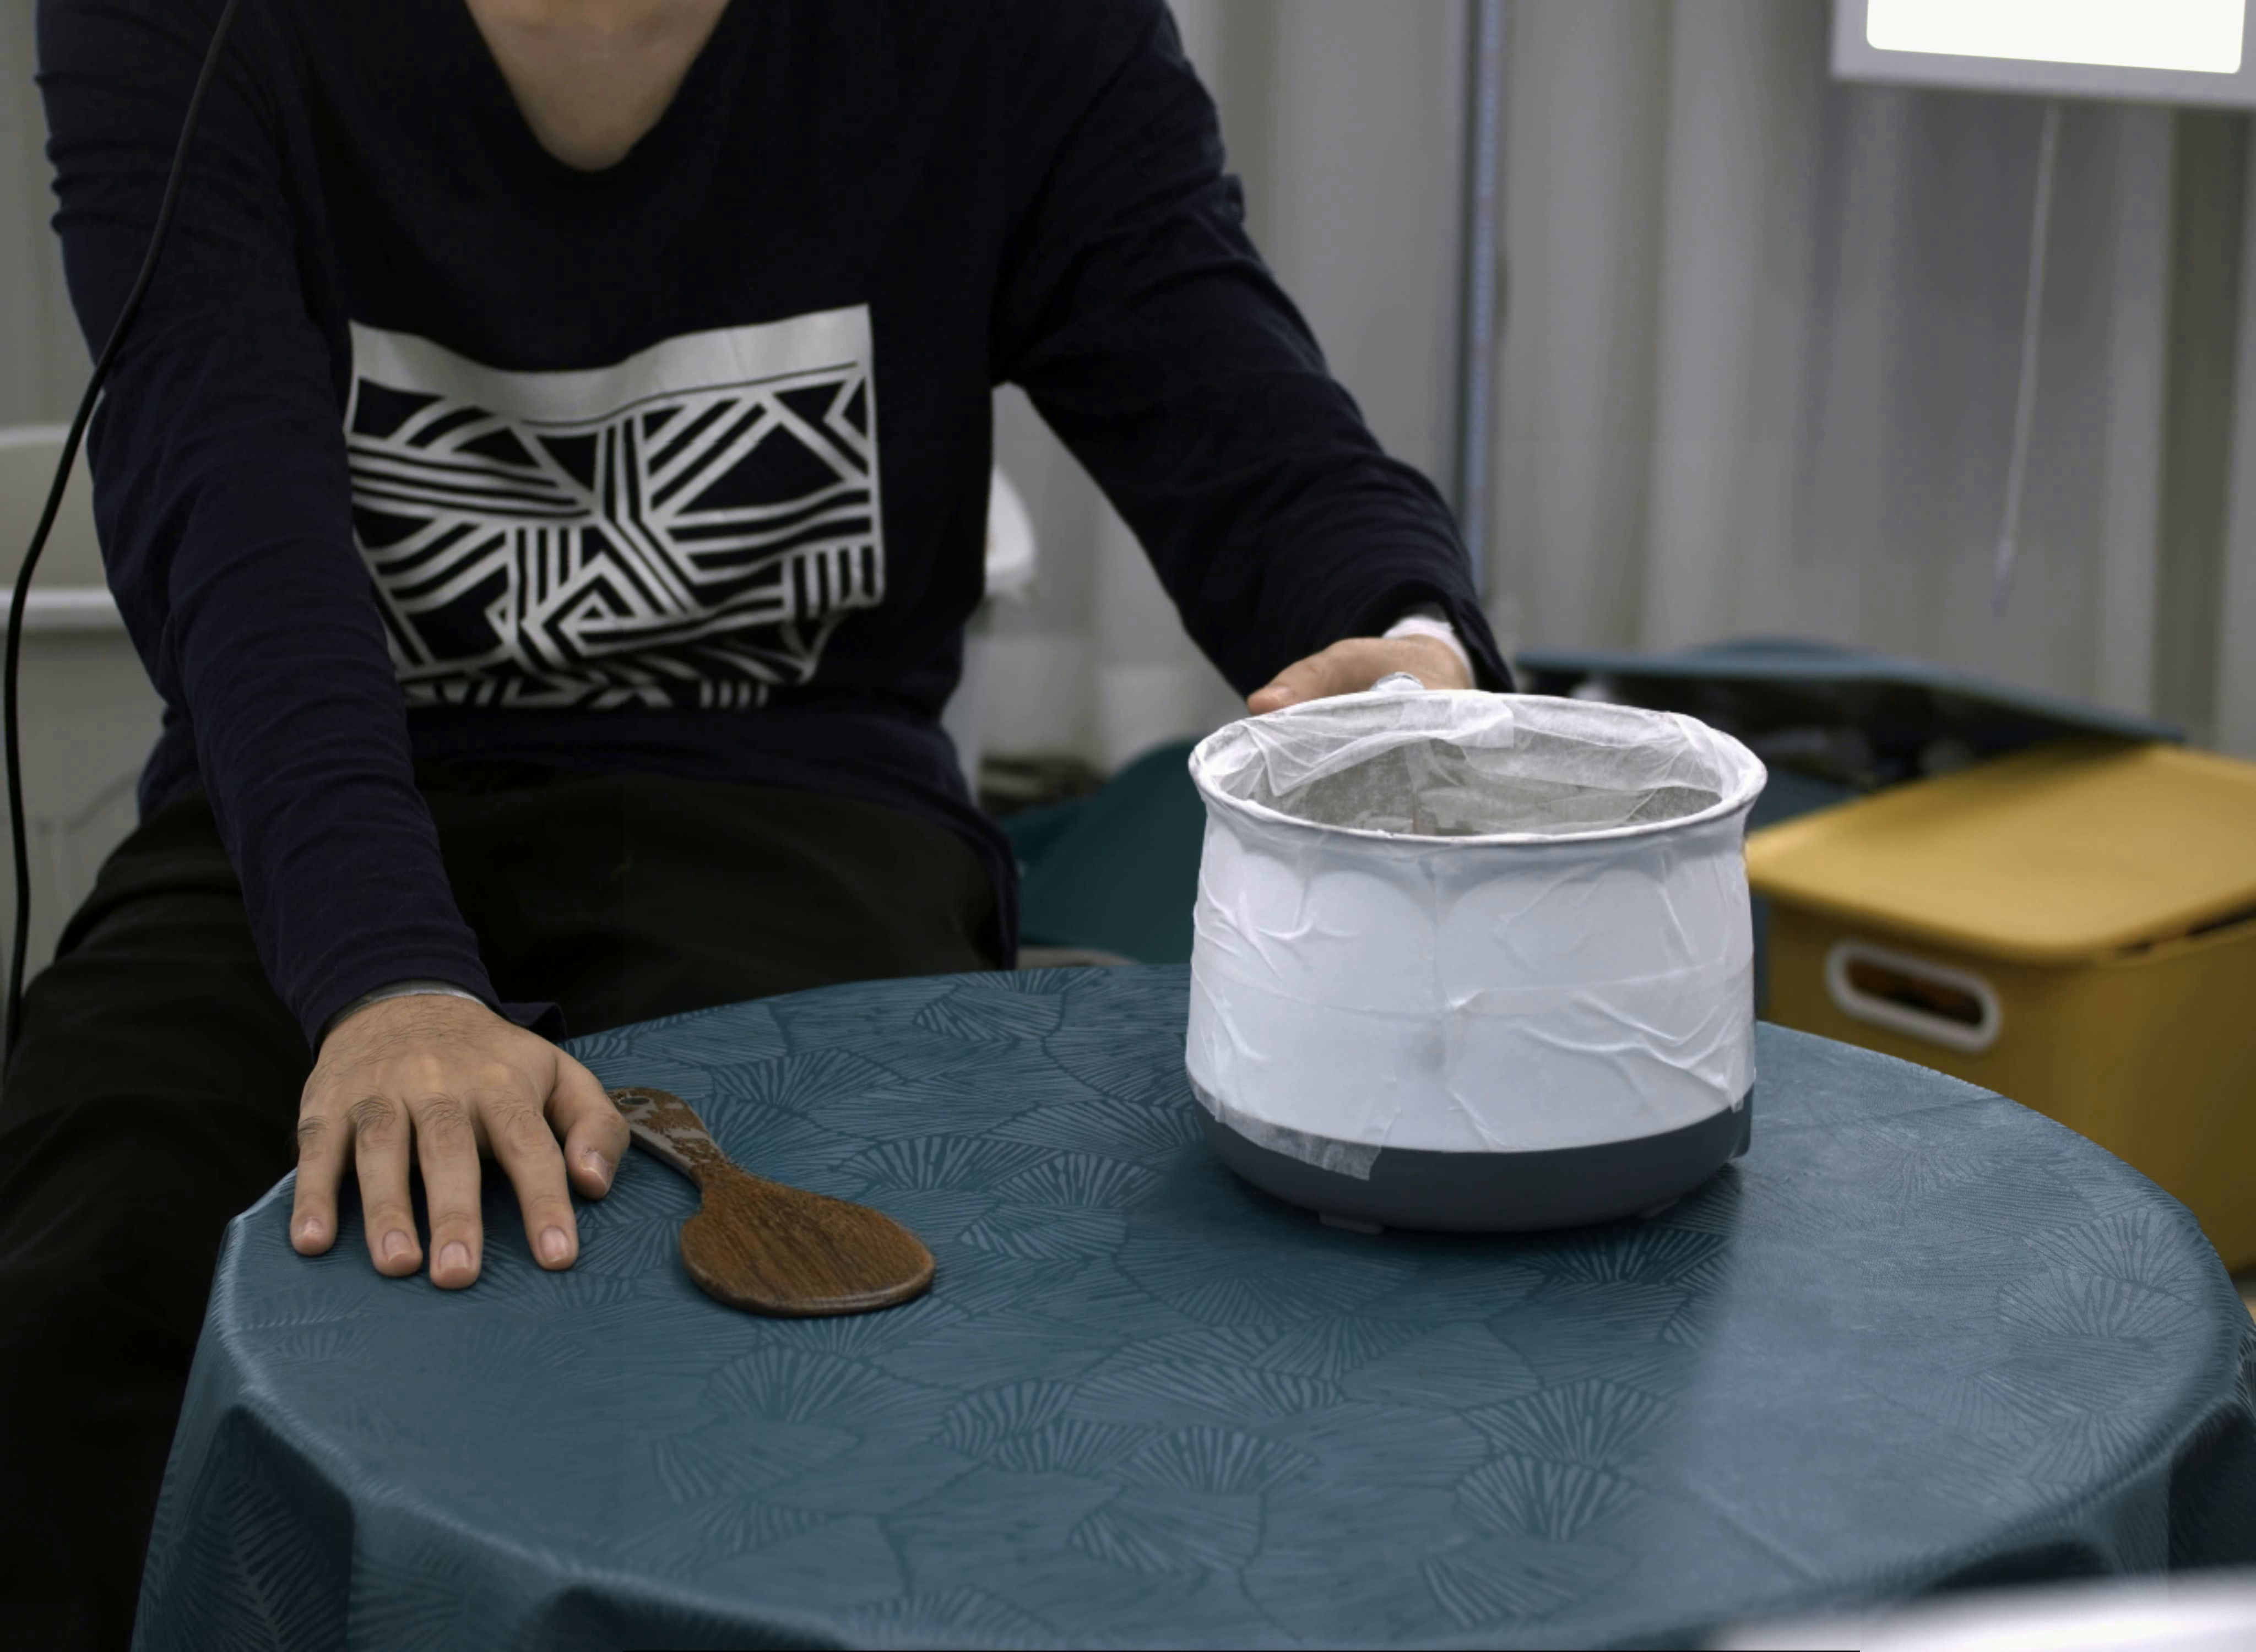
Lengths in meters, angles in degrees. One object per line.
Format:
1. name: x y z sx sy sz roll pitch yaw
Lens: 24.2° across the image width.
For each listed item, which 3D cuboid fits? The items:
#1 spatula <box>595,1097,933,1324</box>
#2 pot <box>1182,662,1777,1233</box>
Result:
1. spatula: -0.121 0.113 1.610 0.072 0.009 0.213 -5 15 -23
2. pot: 0.100 0.033 1.653 0.179 0.138 0.231 0 17 -13
